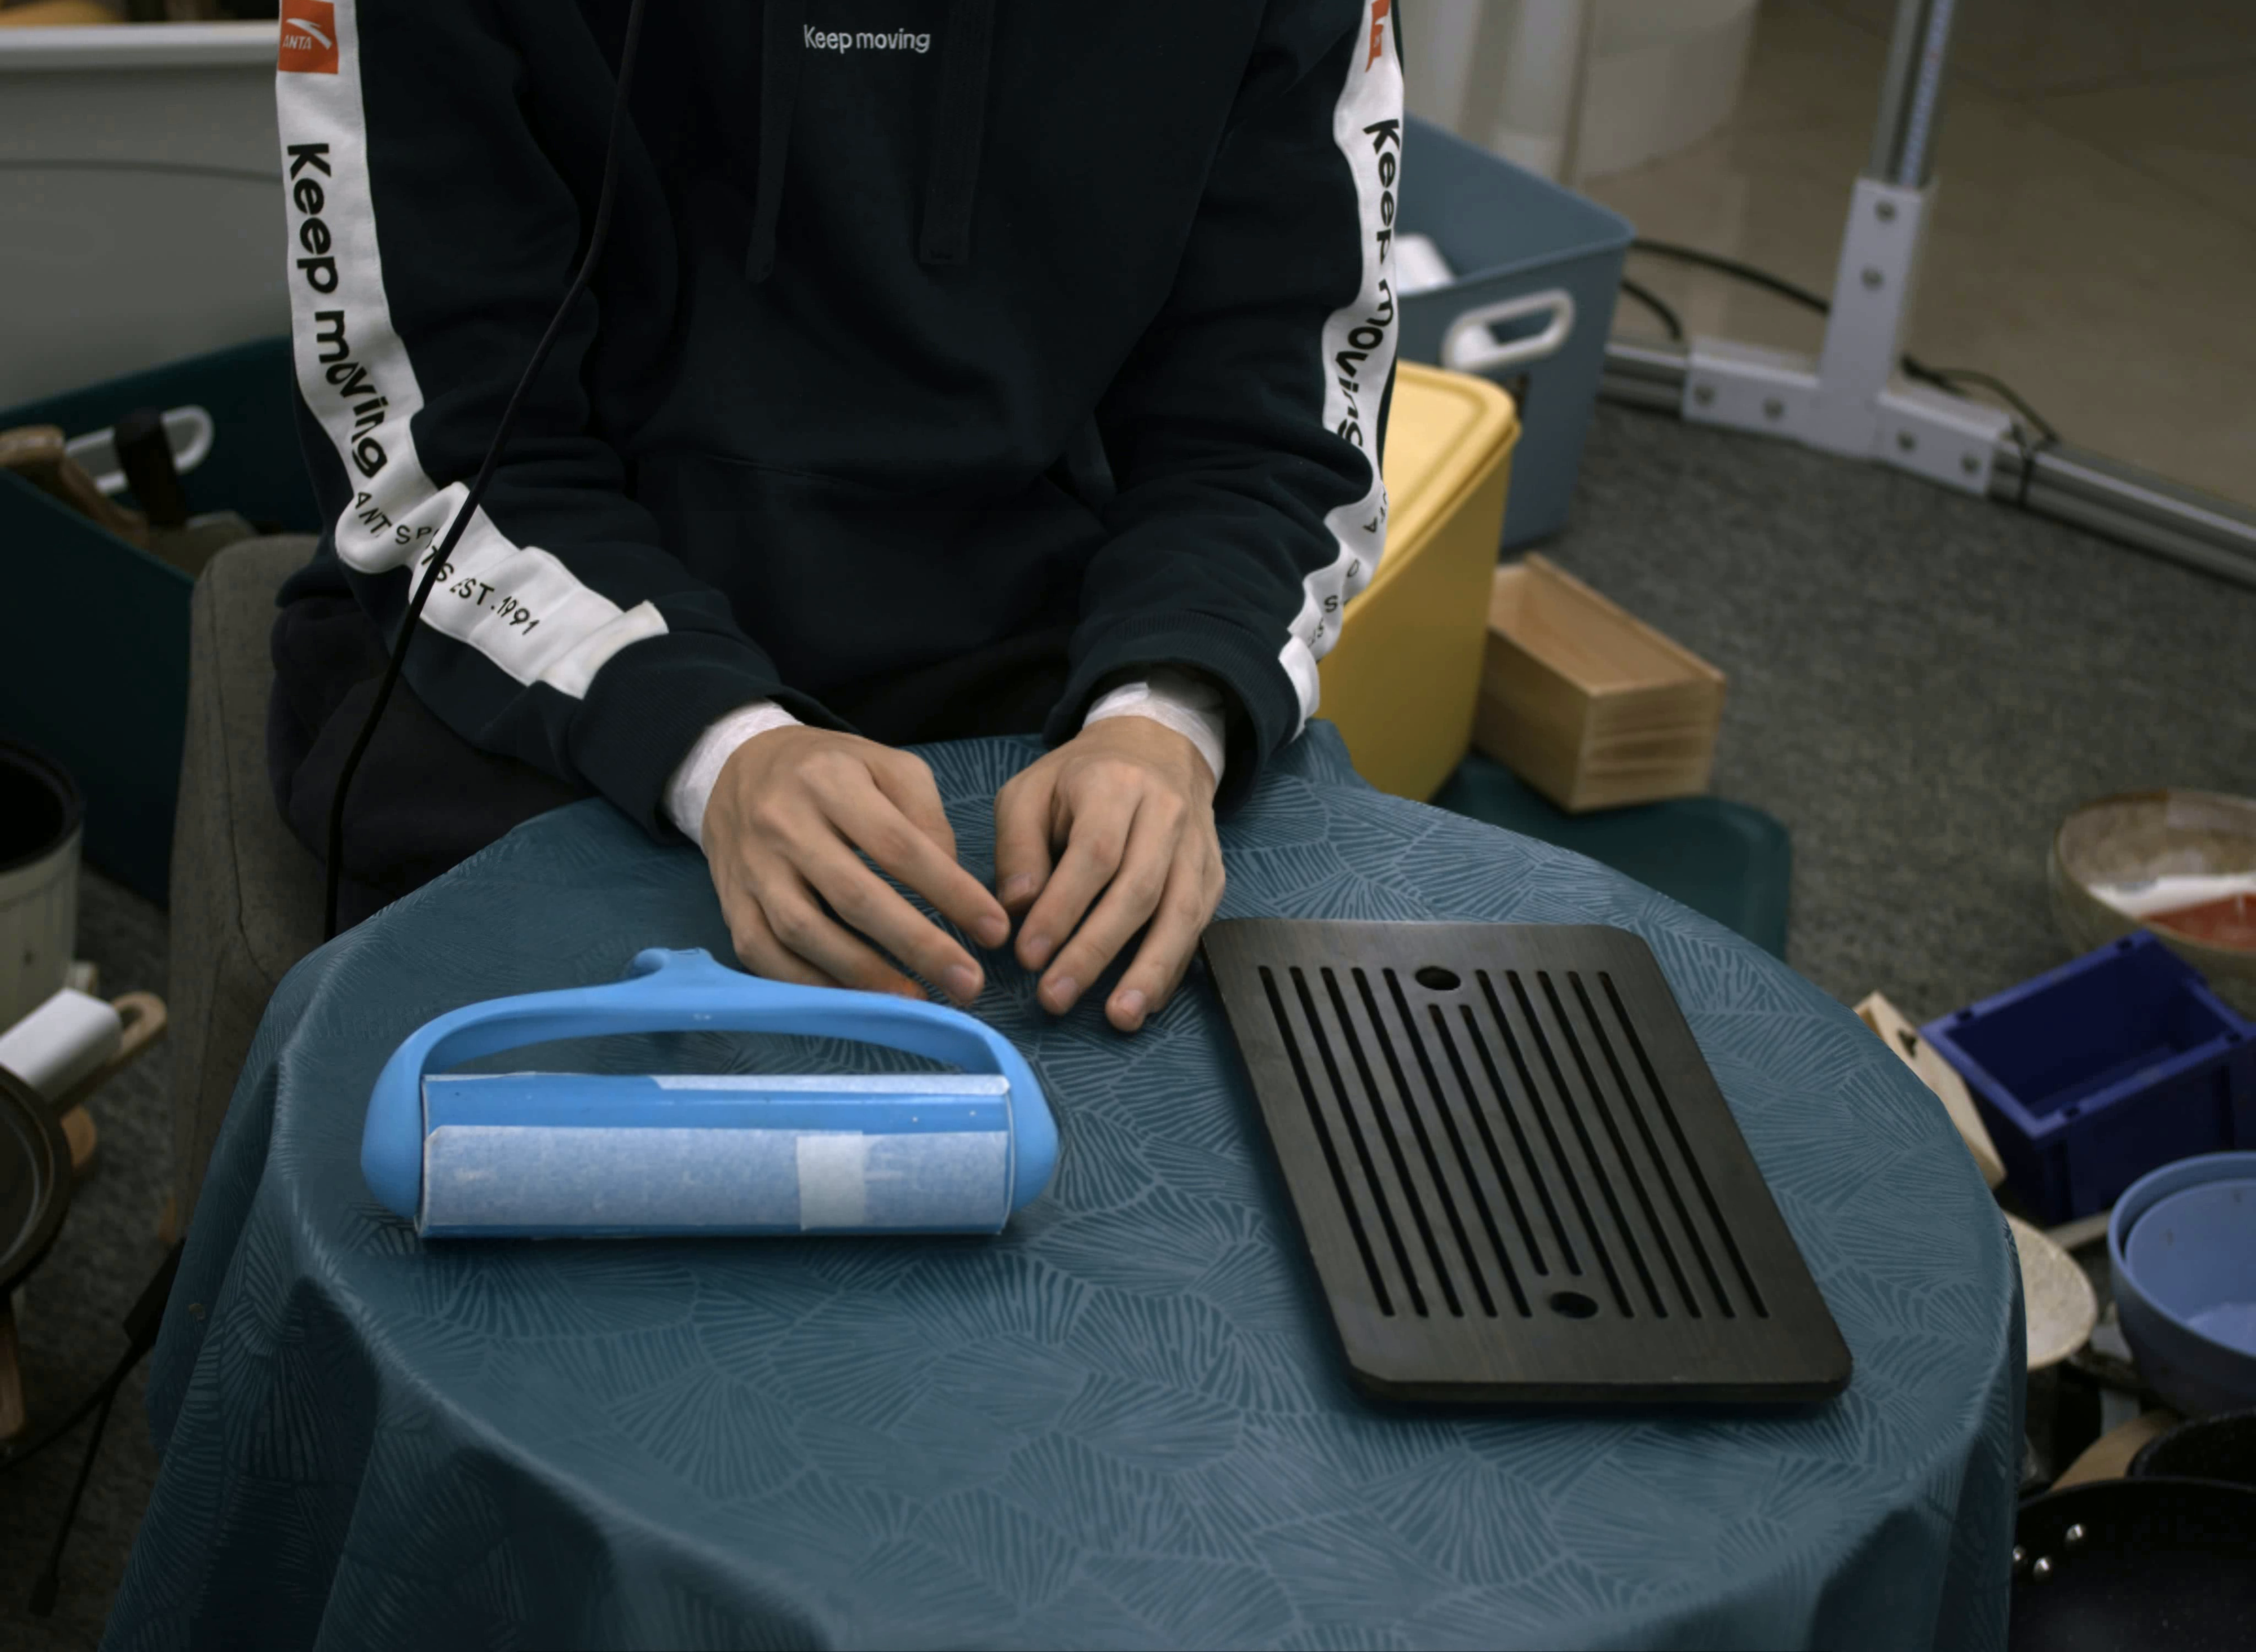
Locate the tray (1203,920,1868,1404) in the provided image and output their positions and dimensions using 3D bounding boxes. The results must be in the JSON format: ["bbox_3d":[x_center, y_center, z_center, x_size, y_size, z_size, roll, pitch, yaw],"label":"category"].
[{"bbox_3d":[0.132,0.113,1.829,0.169,0.018,0.308,1,27,-11],"label":"tray"}]

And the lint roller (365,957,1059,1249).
[{"bbox_3d":[-0.148,0.079,1.790,0.228,0.067,0.182,-3,30,-13],"label":"lint roller"}]
